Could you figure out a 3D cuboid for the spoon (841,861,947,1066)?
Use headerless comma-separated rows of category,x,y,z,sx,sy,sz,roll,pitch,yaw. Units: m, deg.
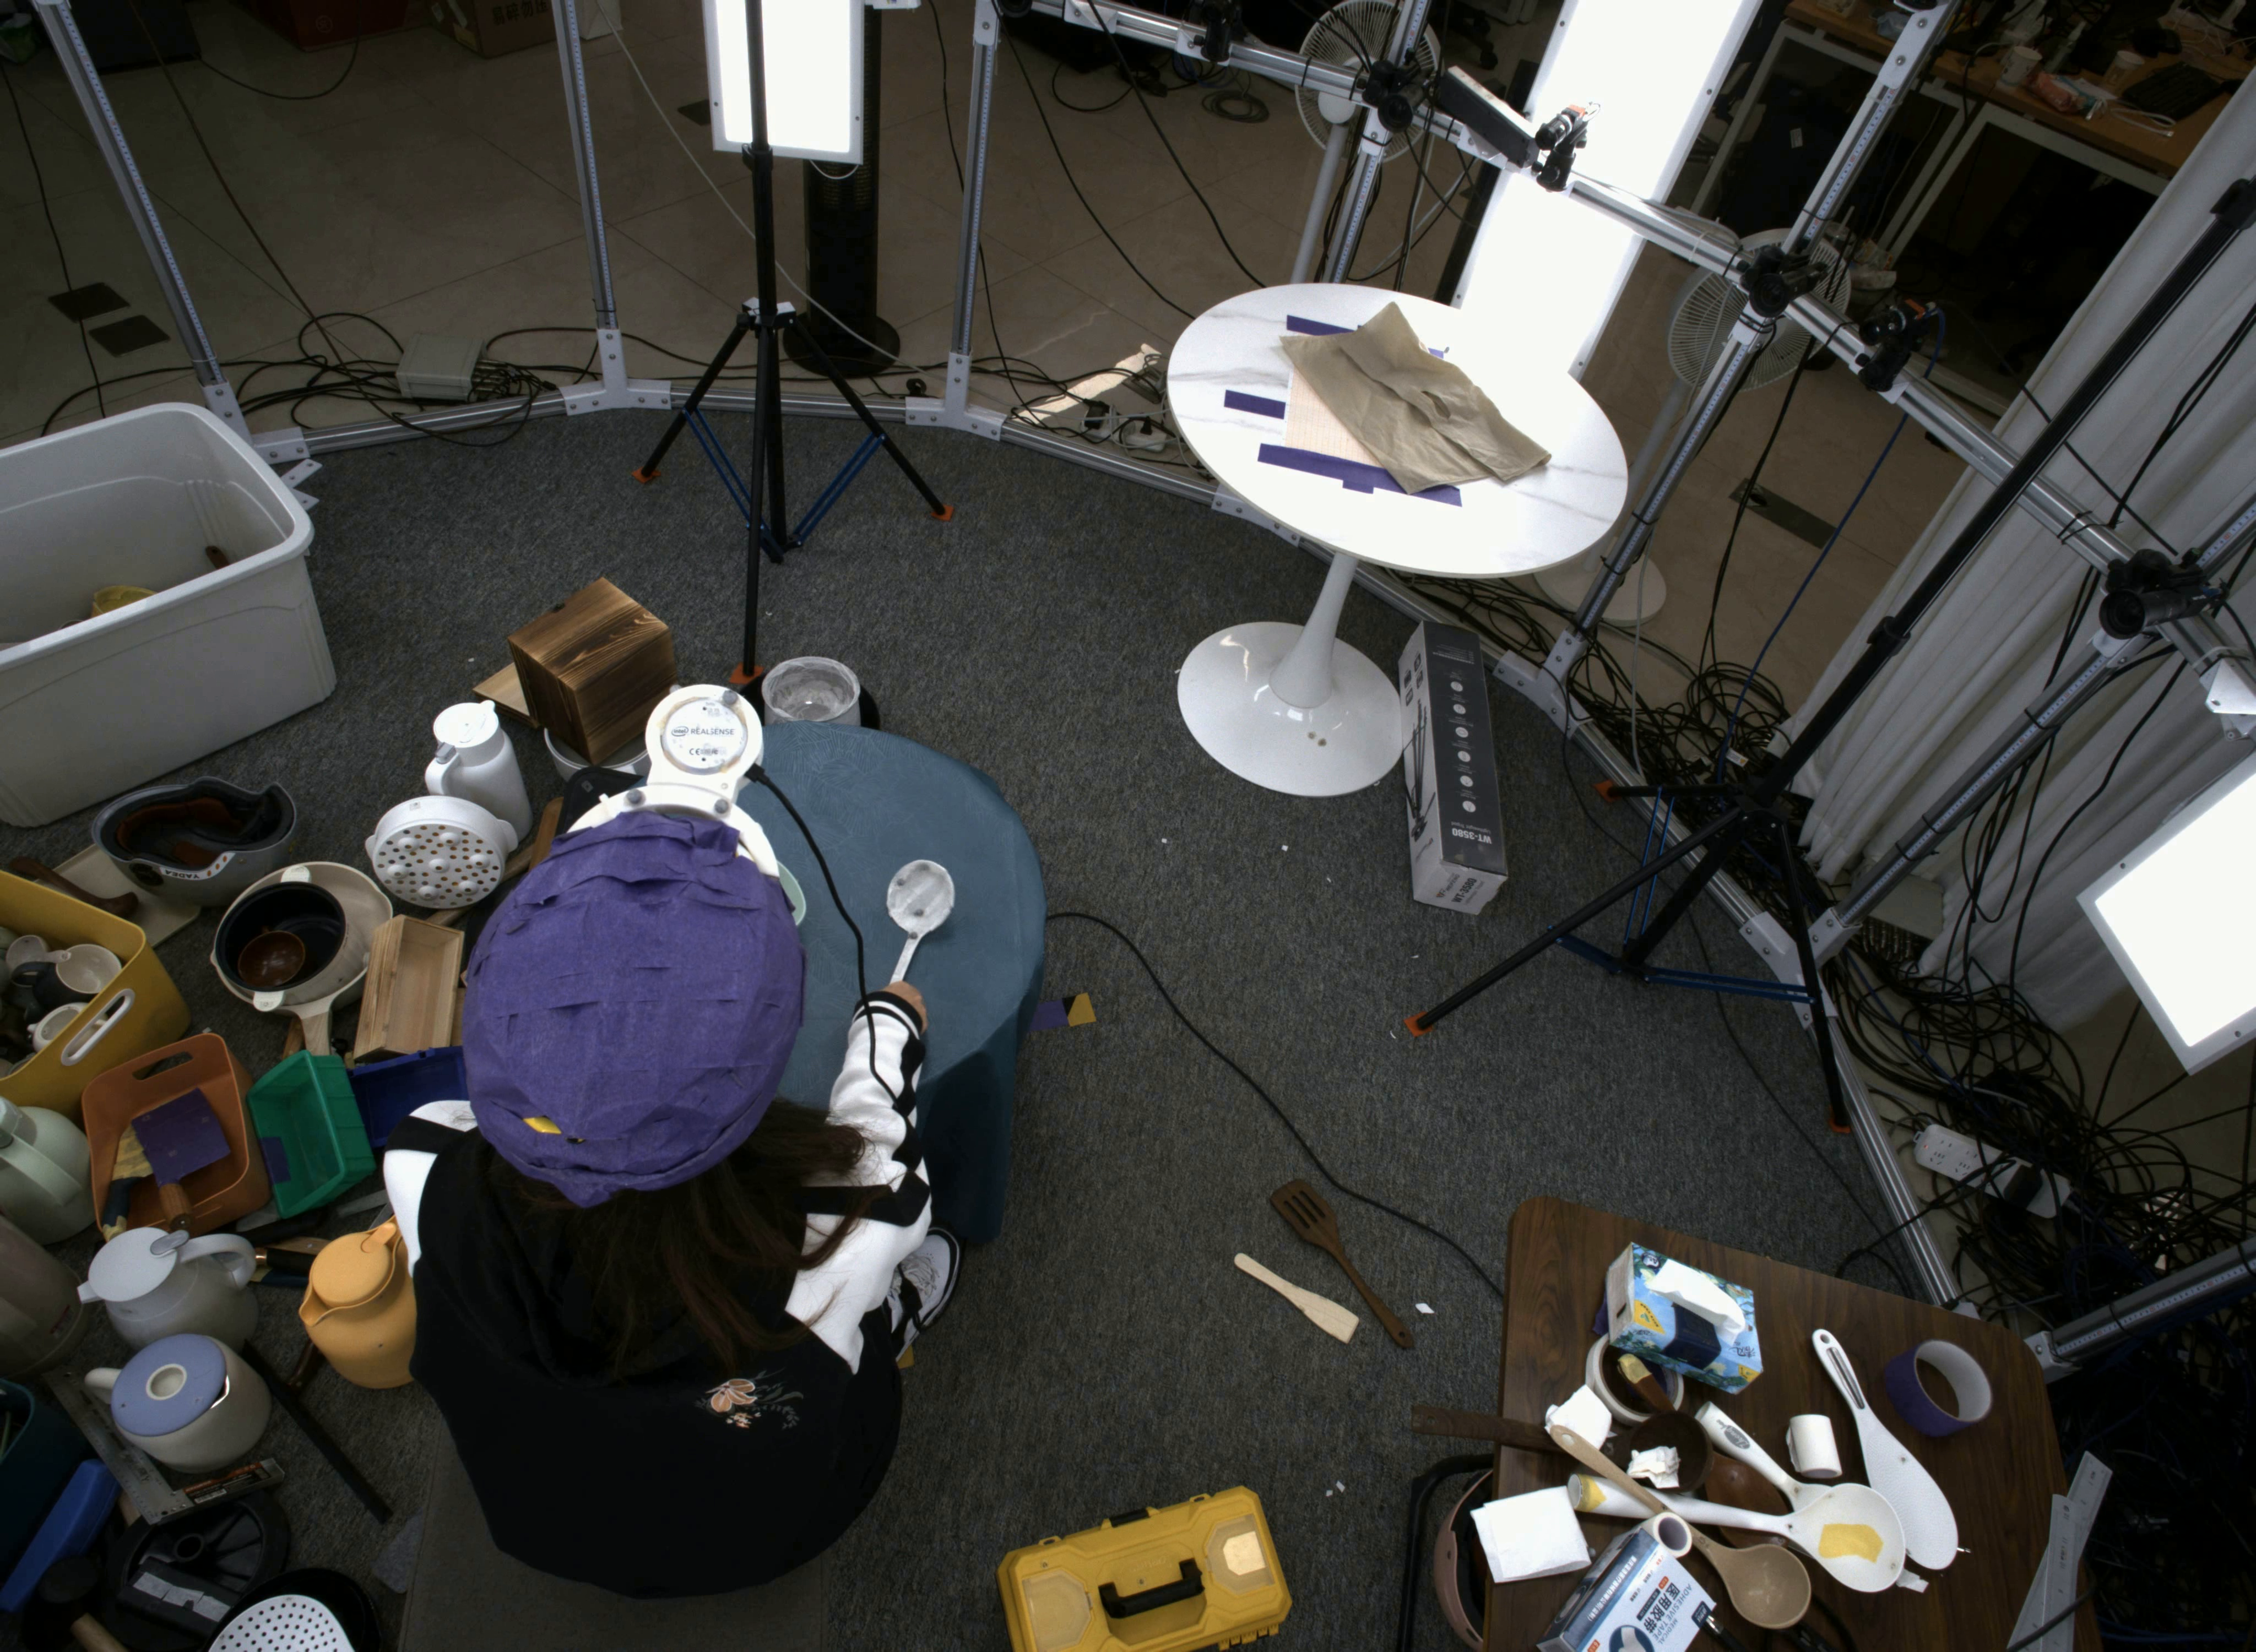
spoon,-0.303,0.161,1.593,0.098,0.061,0.274,5,48,19

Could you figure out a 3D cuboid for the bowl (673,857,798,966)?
bowl,-0.480,0.113,1.586,0.151,0.060,0.149,8,52,-8
